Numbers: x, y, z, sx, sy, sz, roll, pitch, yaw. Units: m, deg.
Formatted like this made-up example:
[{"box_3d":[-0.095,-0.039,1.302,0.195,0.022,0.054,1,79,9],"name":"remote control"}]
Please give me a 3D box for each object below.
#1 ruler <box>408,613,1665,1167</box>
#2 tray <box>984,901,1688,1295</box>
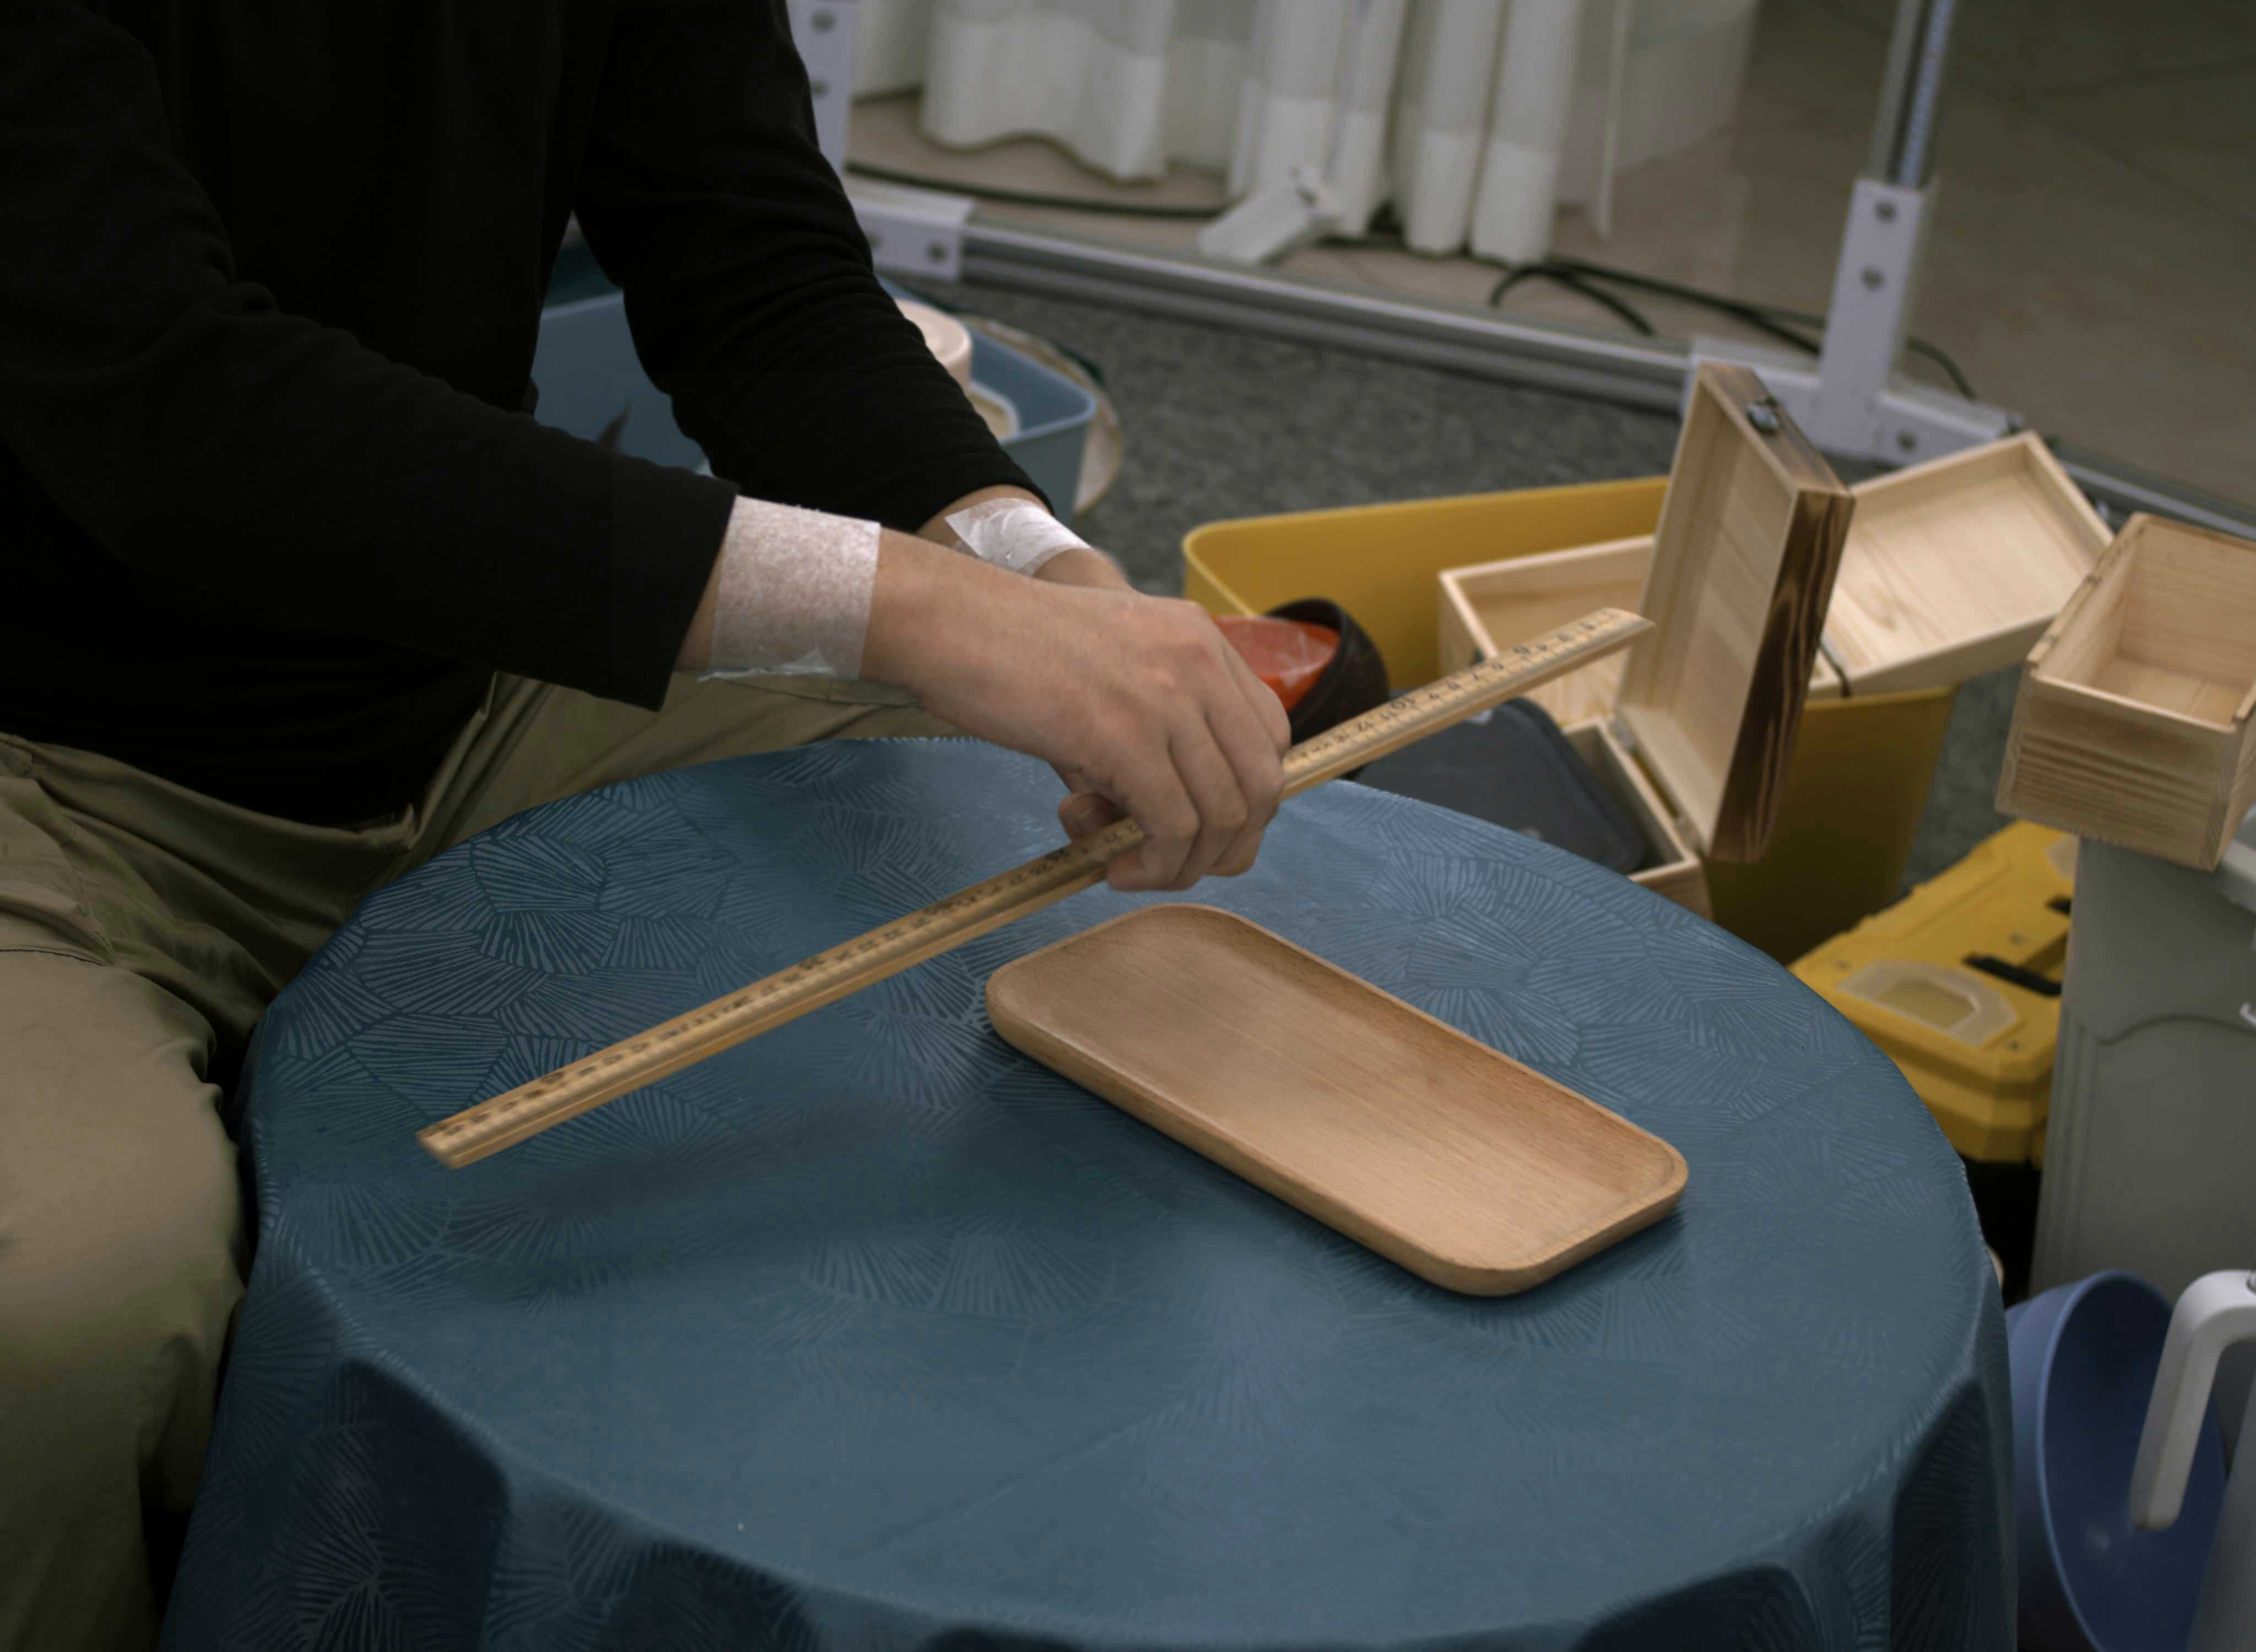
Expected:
[{"box_3d":[-0.020,0.016,1.809,0.498,0.006,0.027,-23,28,-26],"name":"ruler"},{"box_3d":[0.070,0.093,1.861,0.252,0.023,0.130,27,31,37],"name":"tray"}]
